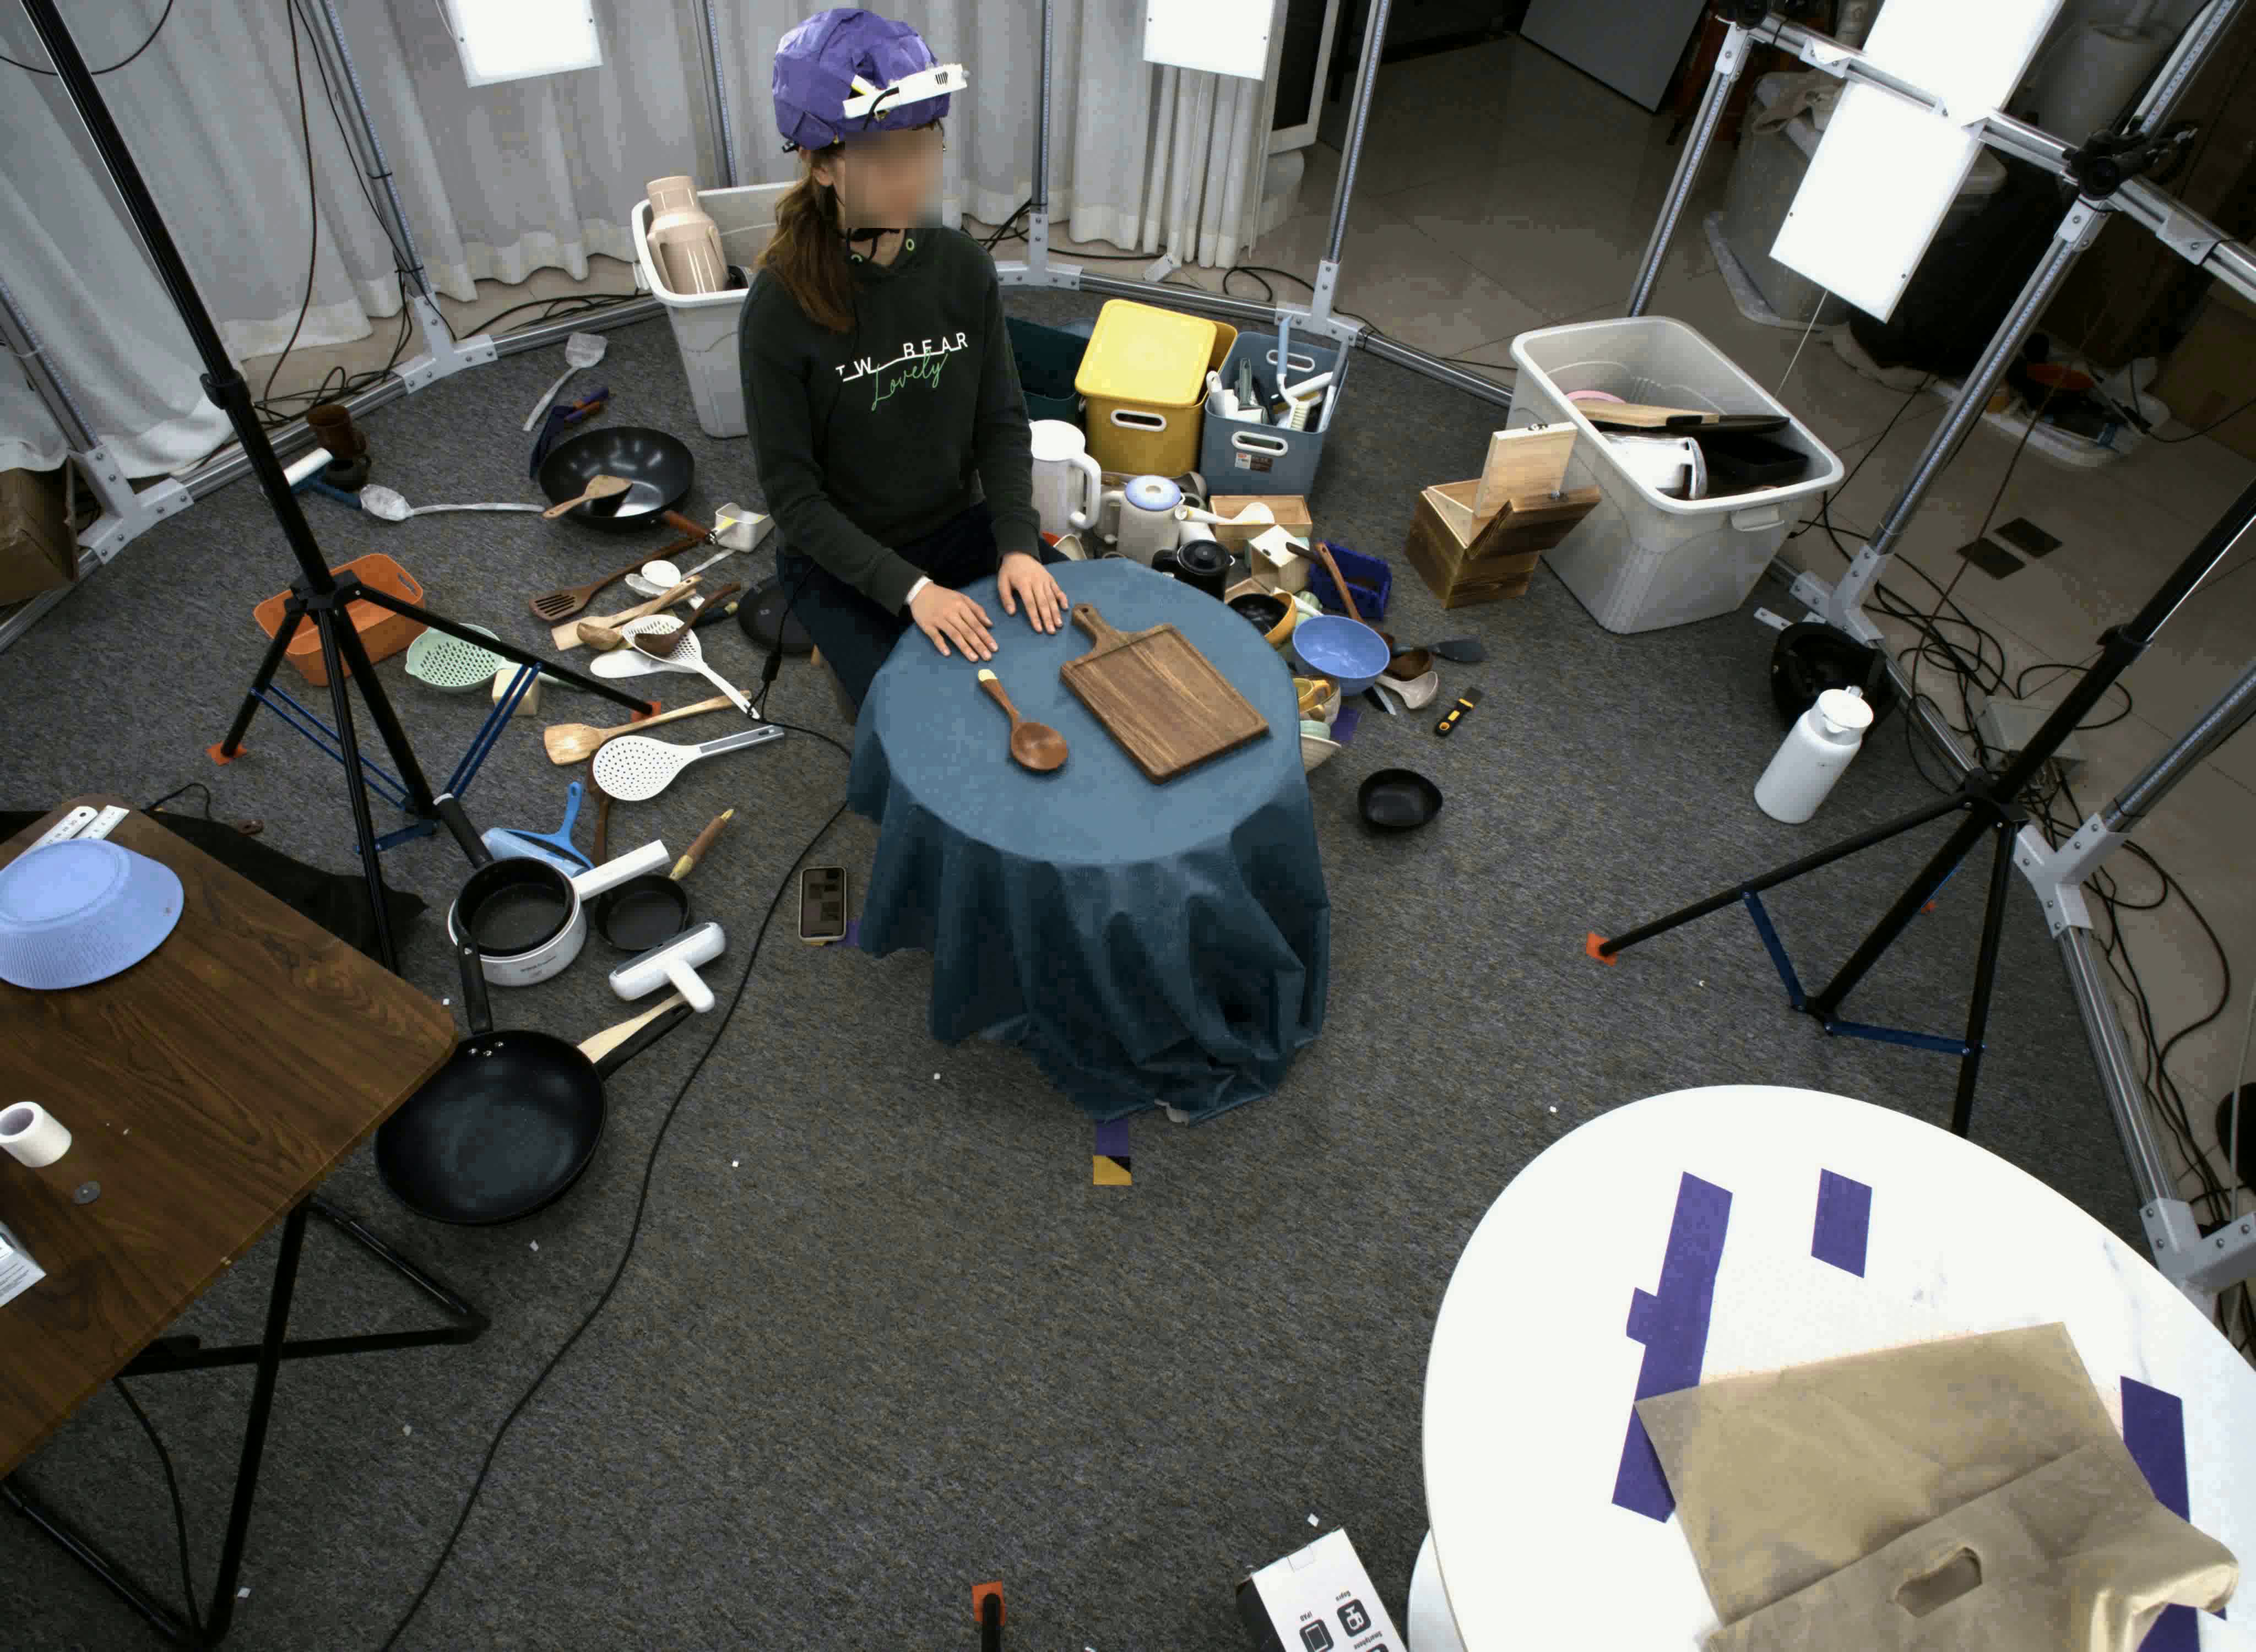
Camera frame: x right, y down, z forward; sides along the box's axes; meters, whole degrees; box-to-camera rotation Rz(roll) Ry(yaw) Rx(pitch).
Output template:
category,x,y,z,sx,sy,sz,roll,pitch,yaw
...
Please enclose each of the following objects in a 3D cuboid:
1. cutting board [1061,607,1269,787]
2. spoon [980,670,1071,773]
category,x,y,z,sx,sy,sz,roll,pitch,yaw
cutting board,0.024,-0.211,1.858,0.202,0.022,0.359,-25,55,-22
spoon,-0.151,-0.148,1.791,0.076,0.017,0.220,-23,55,-20
